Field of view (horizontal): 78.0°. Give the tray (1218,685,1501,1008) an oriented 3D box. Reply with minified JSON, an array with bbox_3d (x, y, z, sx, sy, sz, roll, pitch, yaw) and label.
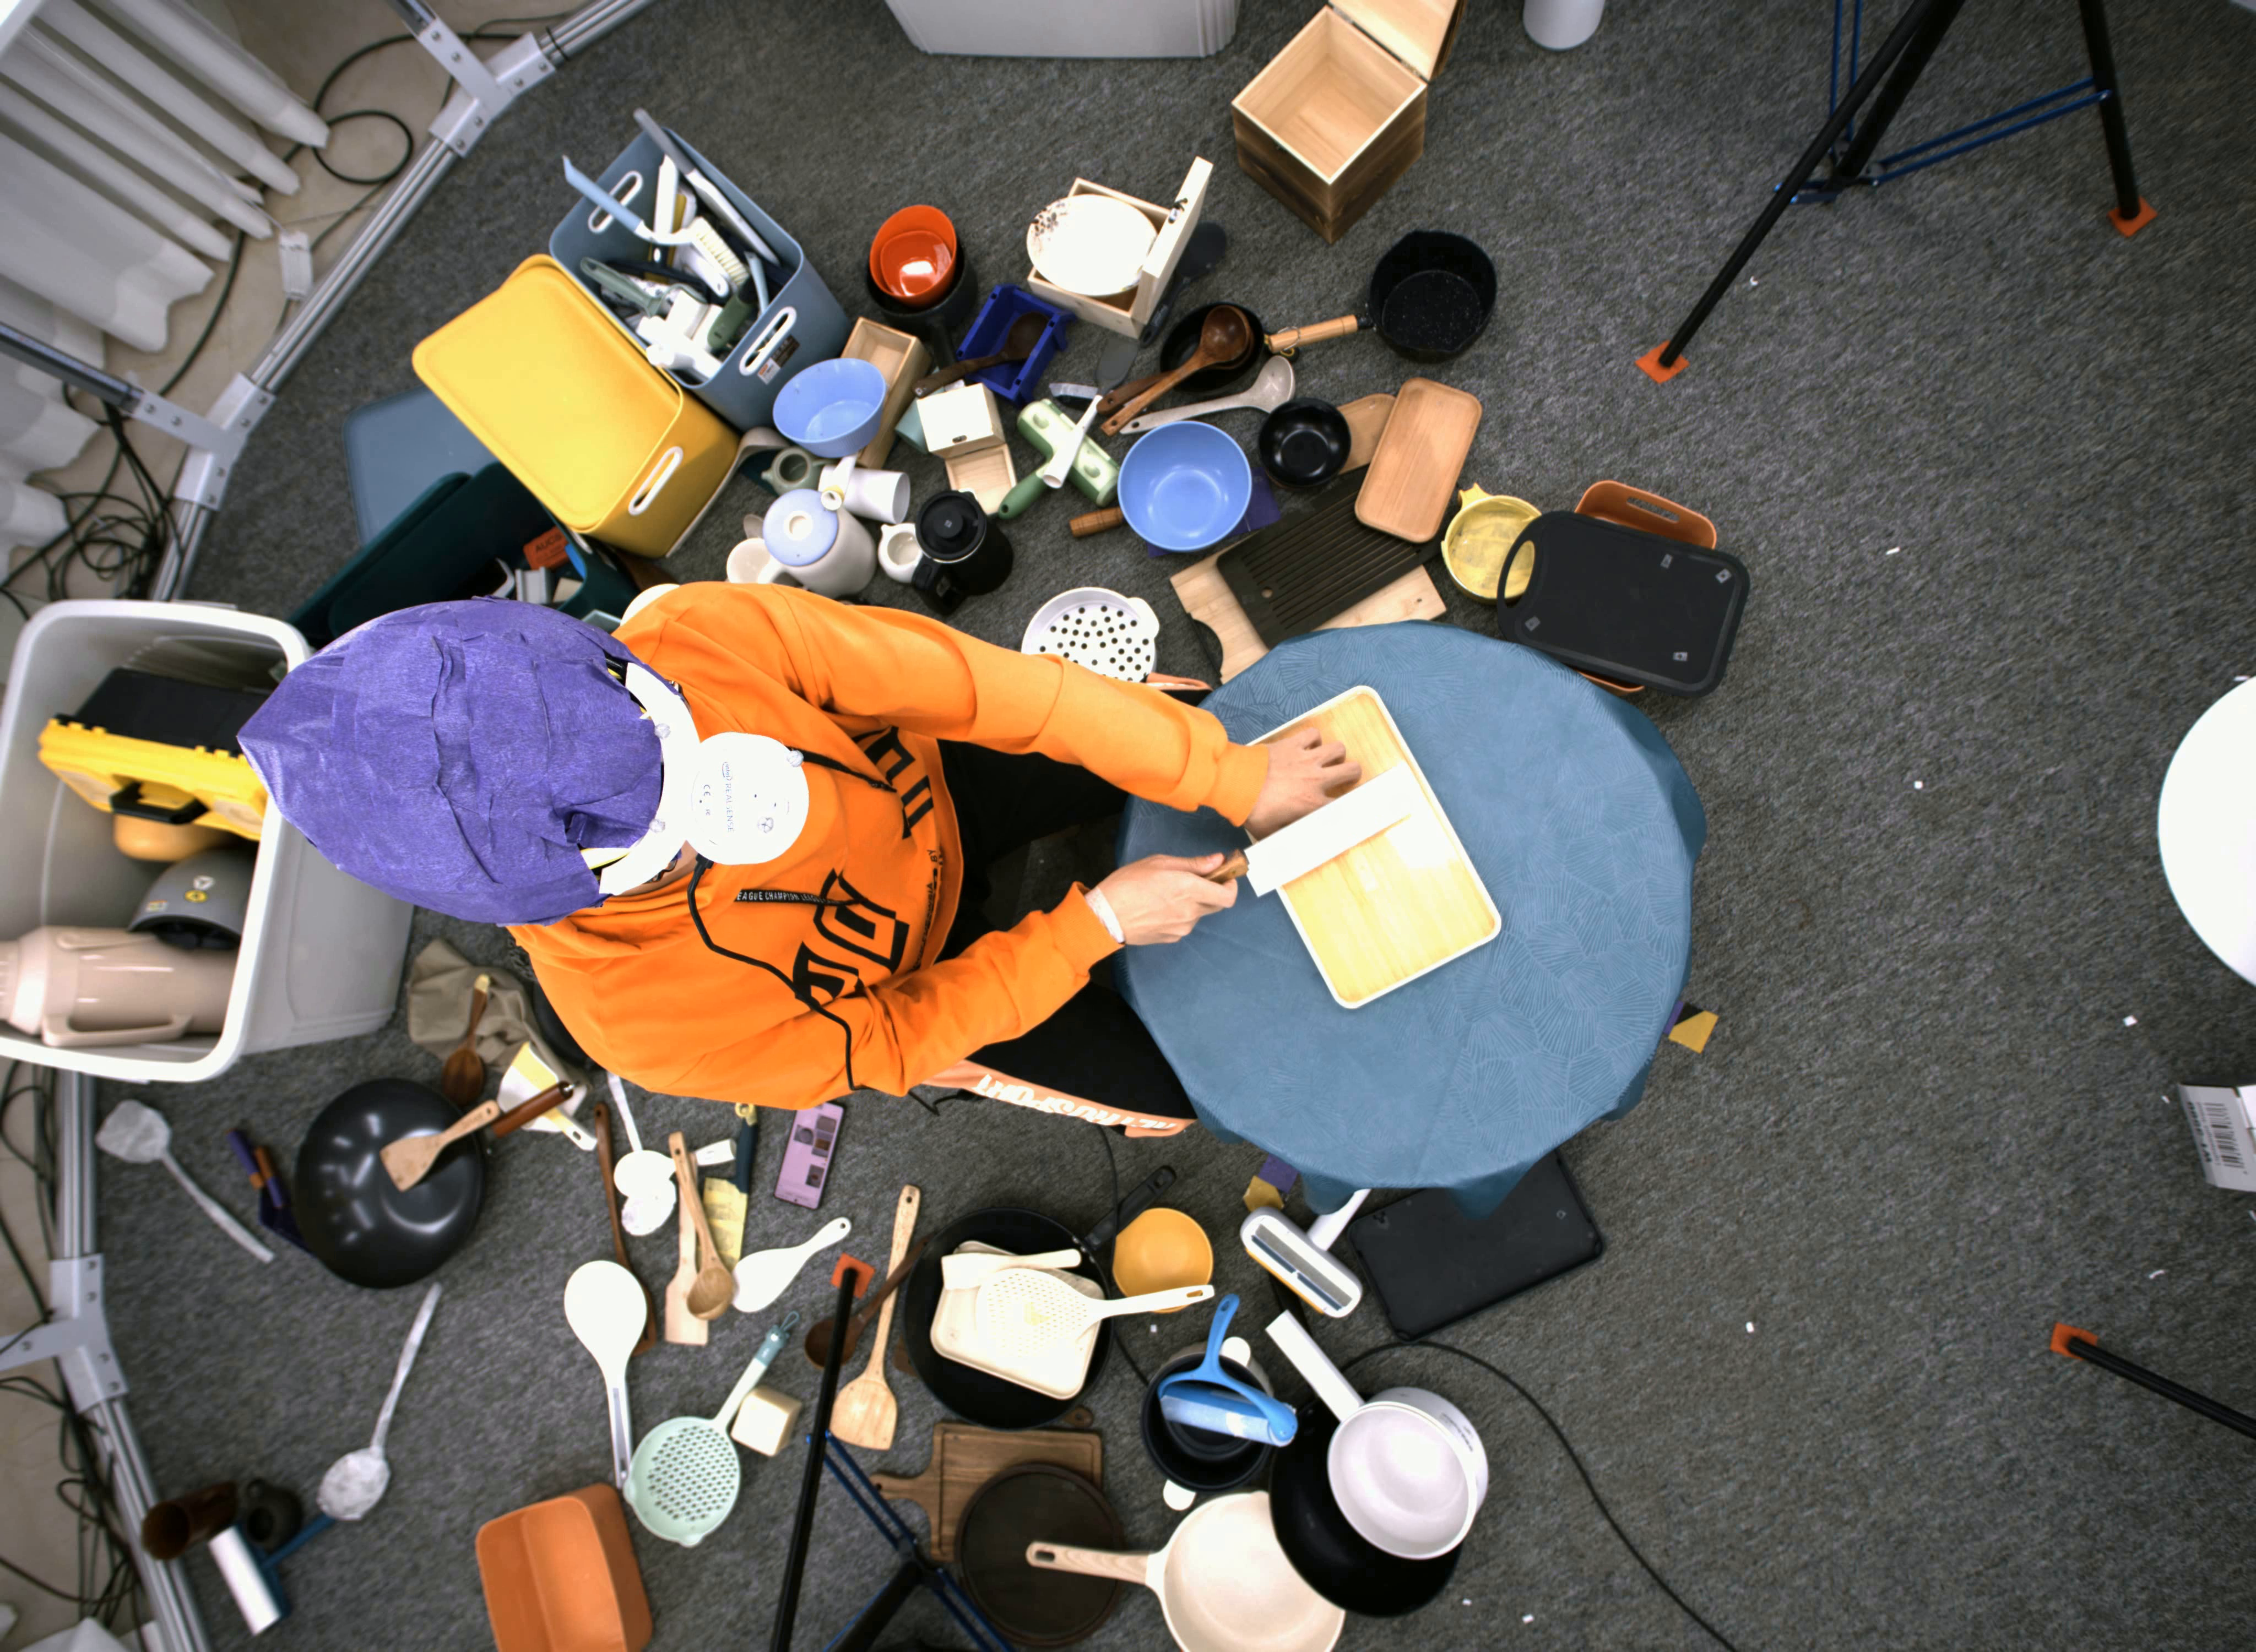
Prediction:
[{"bbox_3d":[0.241,0.020,1.454,0.192,0.027,0.298,-28,83,7],"label":"tray"}]

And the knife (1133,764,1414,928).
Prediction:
[{"bbox_3d":[0.152,0.031,1.404,0.307,0.094,0.020,-29,54,6],"label":"knife"}]
